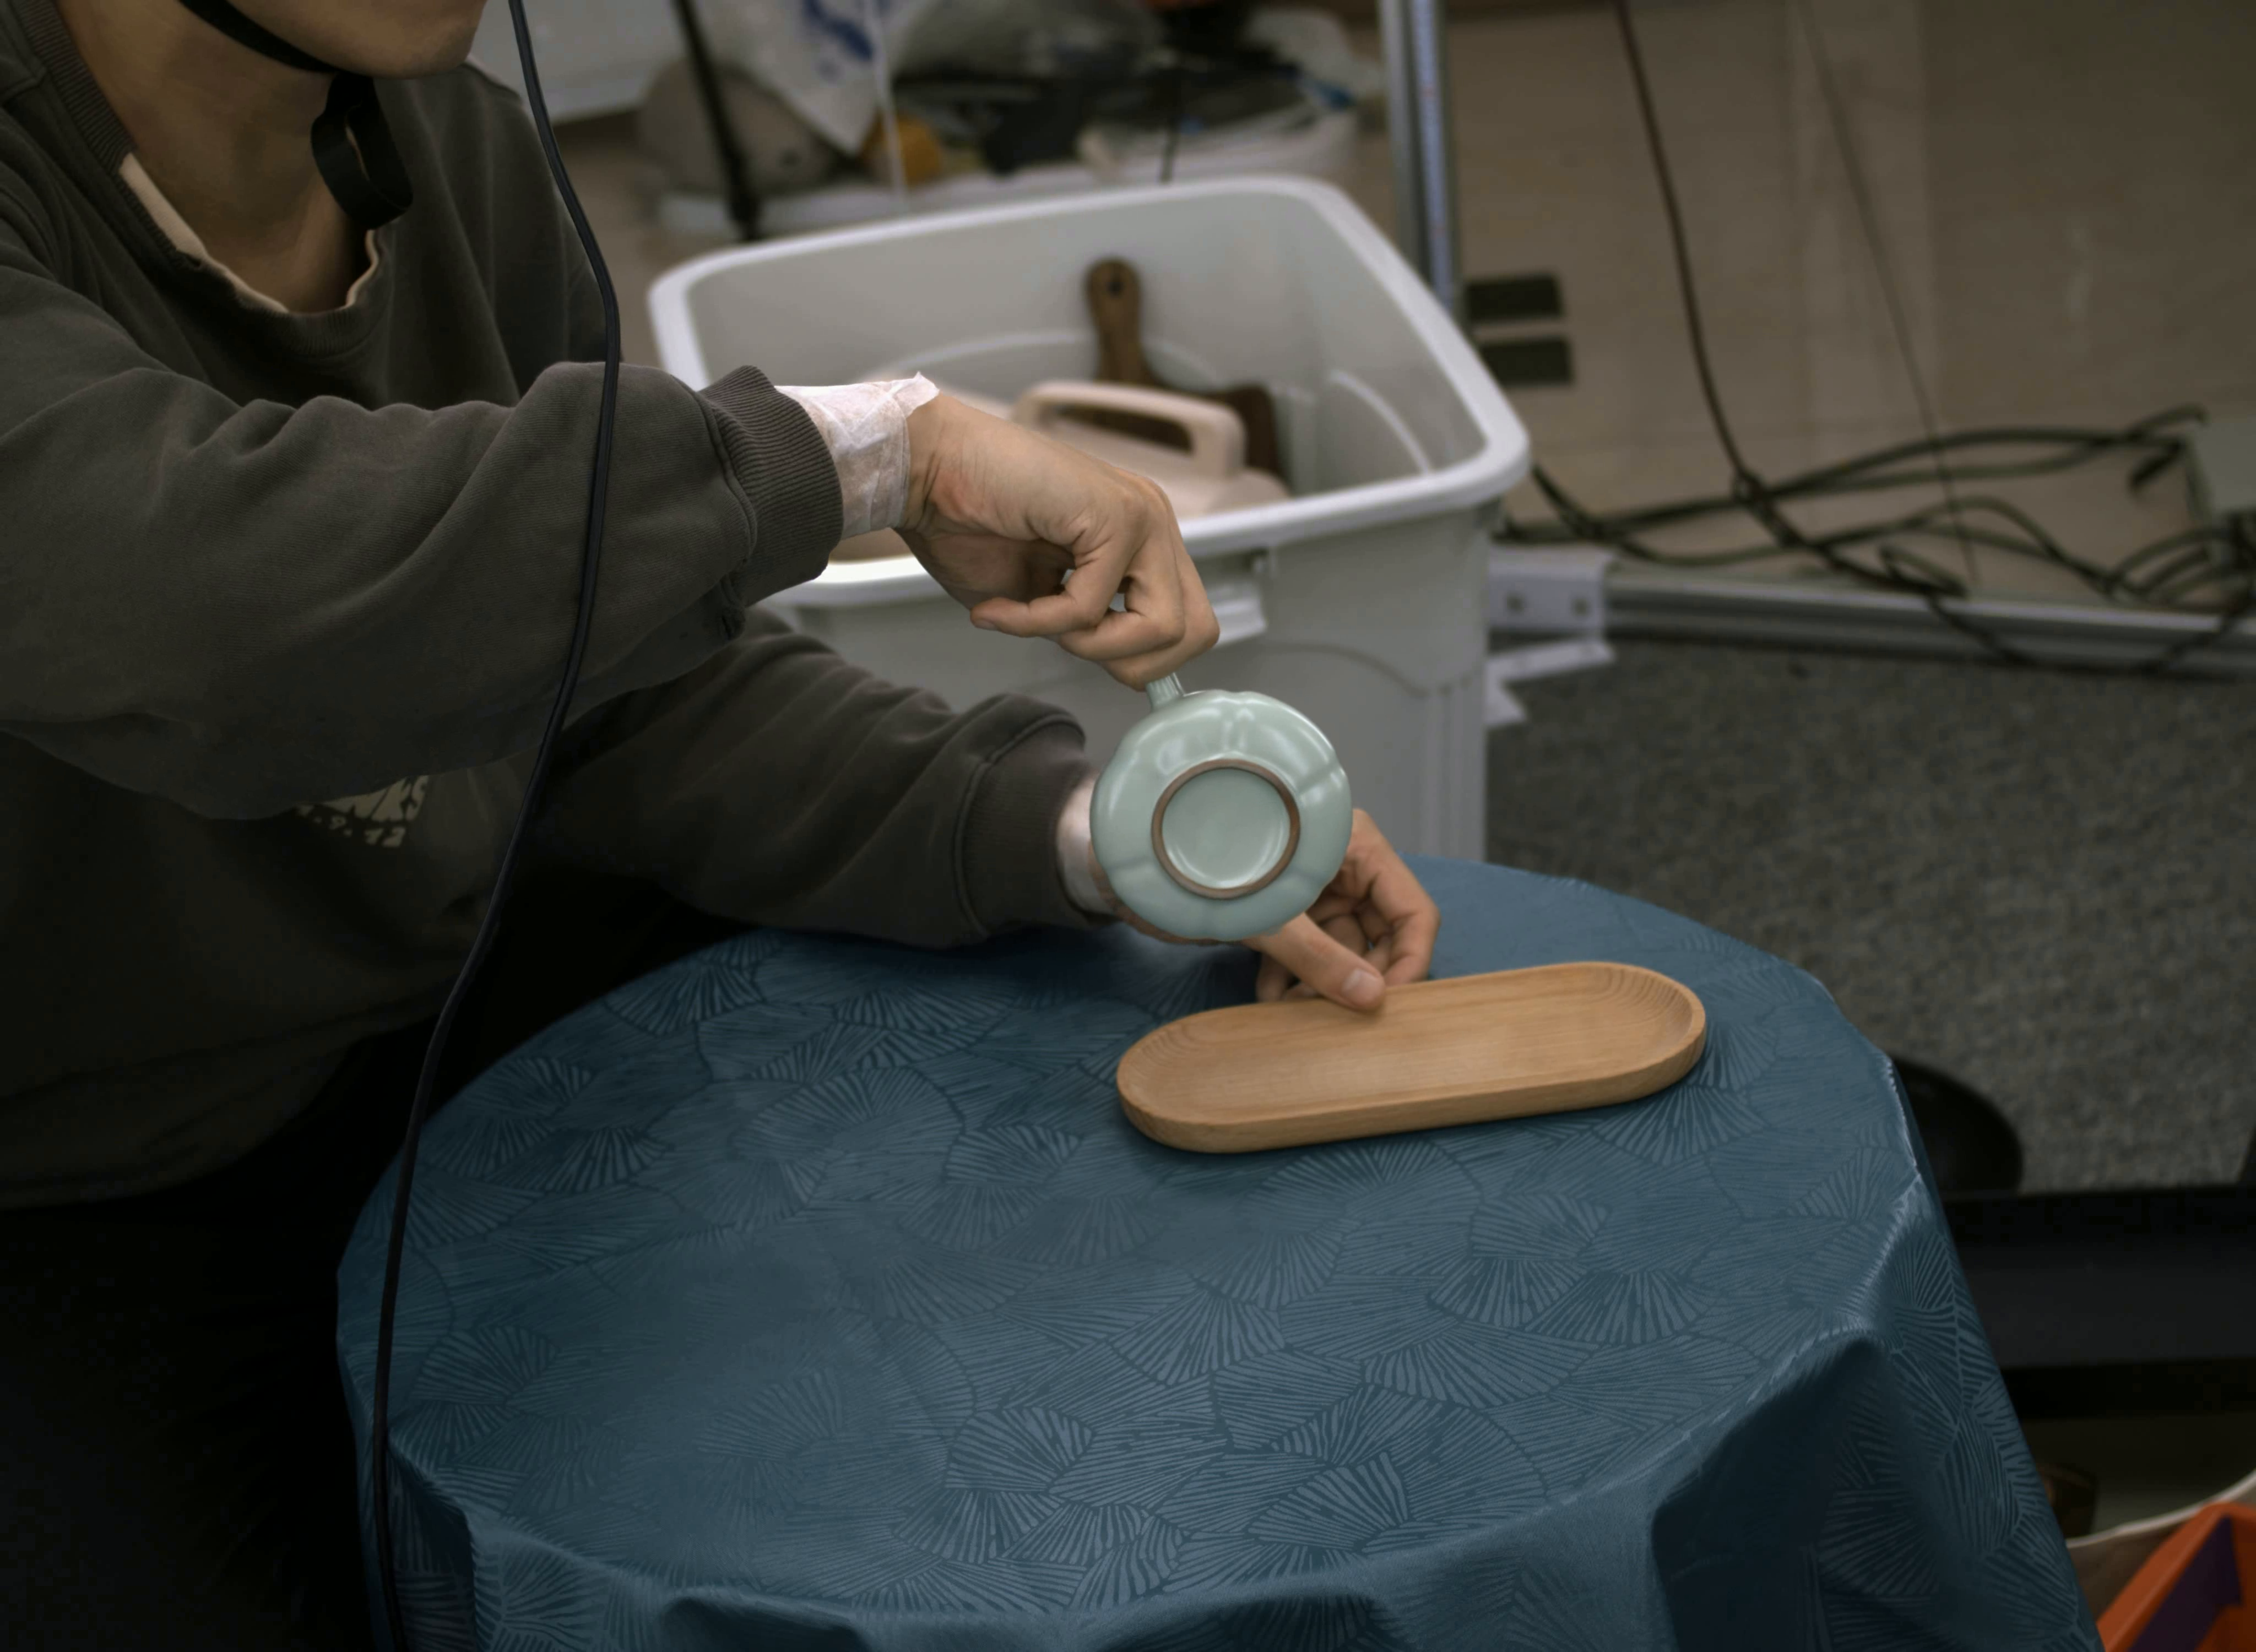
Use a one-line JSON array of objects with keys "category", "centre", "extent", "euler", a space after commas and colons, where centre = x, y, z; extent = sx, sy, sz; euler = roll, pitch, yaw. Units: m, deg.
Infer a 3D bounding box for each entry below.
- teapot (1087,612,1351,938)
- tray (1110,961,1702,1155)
[{"category": "teapot", "centre": [0.031, -0.013, 2.082], "extent": [0.096, 0.138, 0.061], "euler": [-21, 18, 3]}, {"category": "tray", "centre": [0.108, 0.091, 2.203], "extent": [0.231, 0.020, 0.100], "euler": [-9, 25, -2]}]
